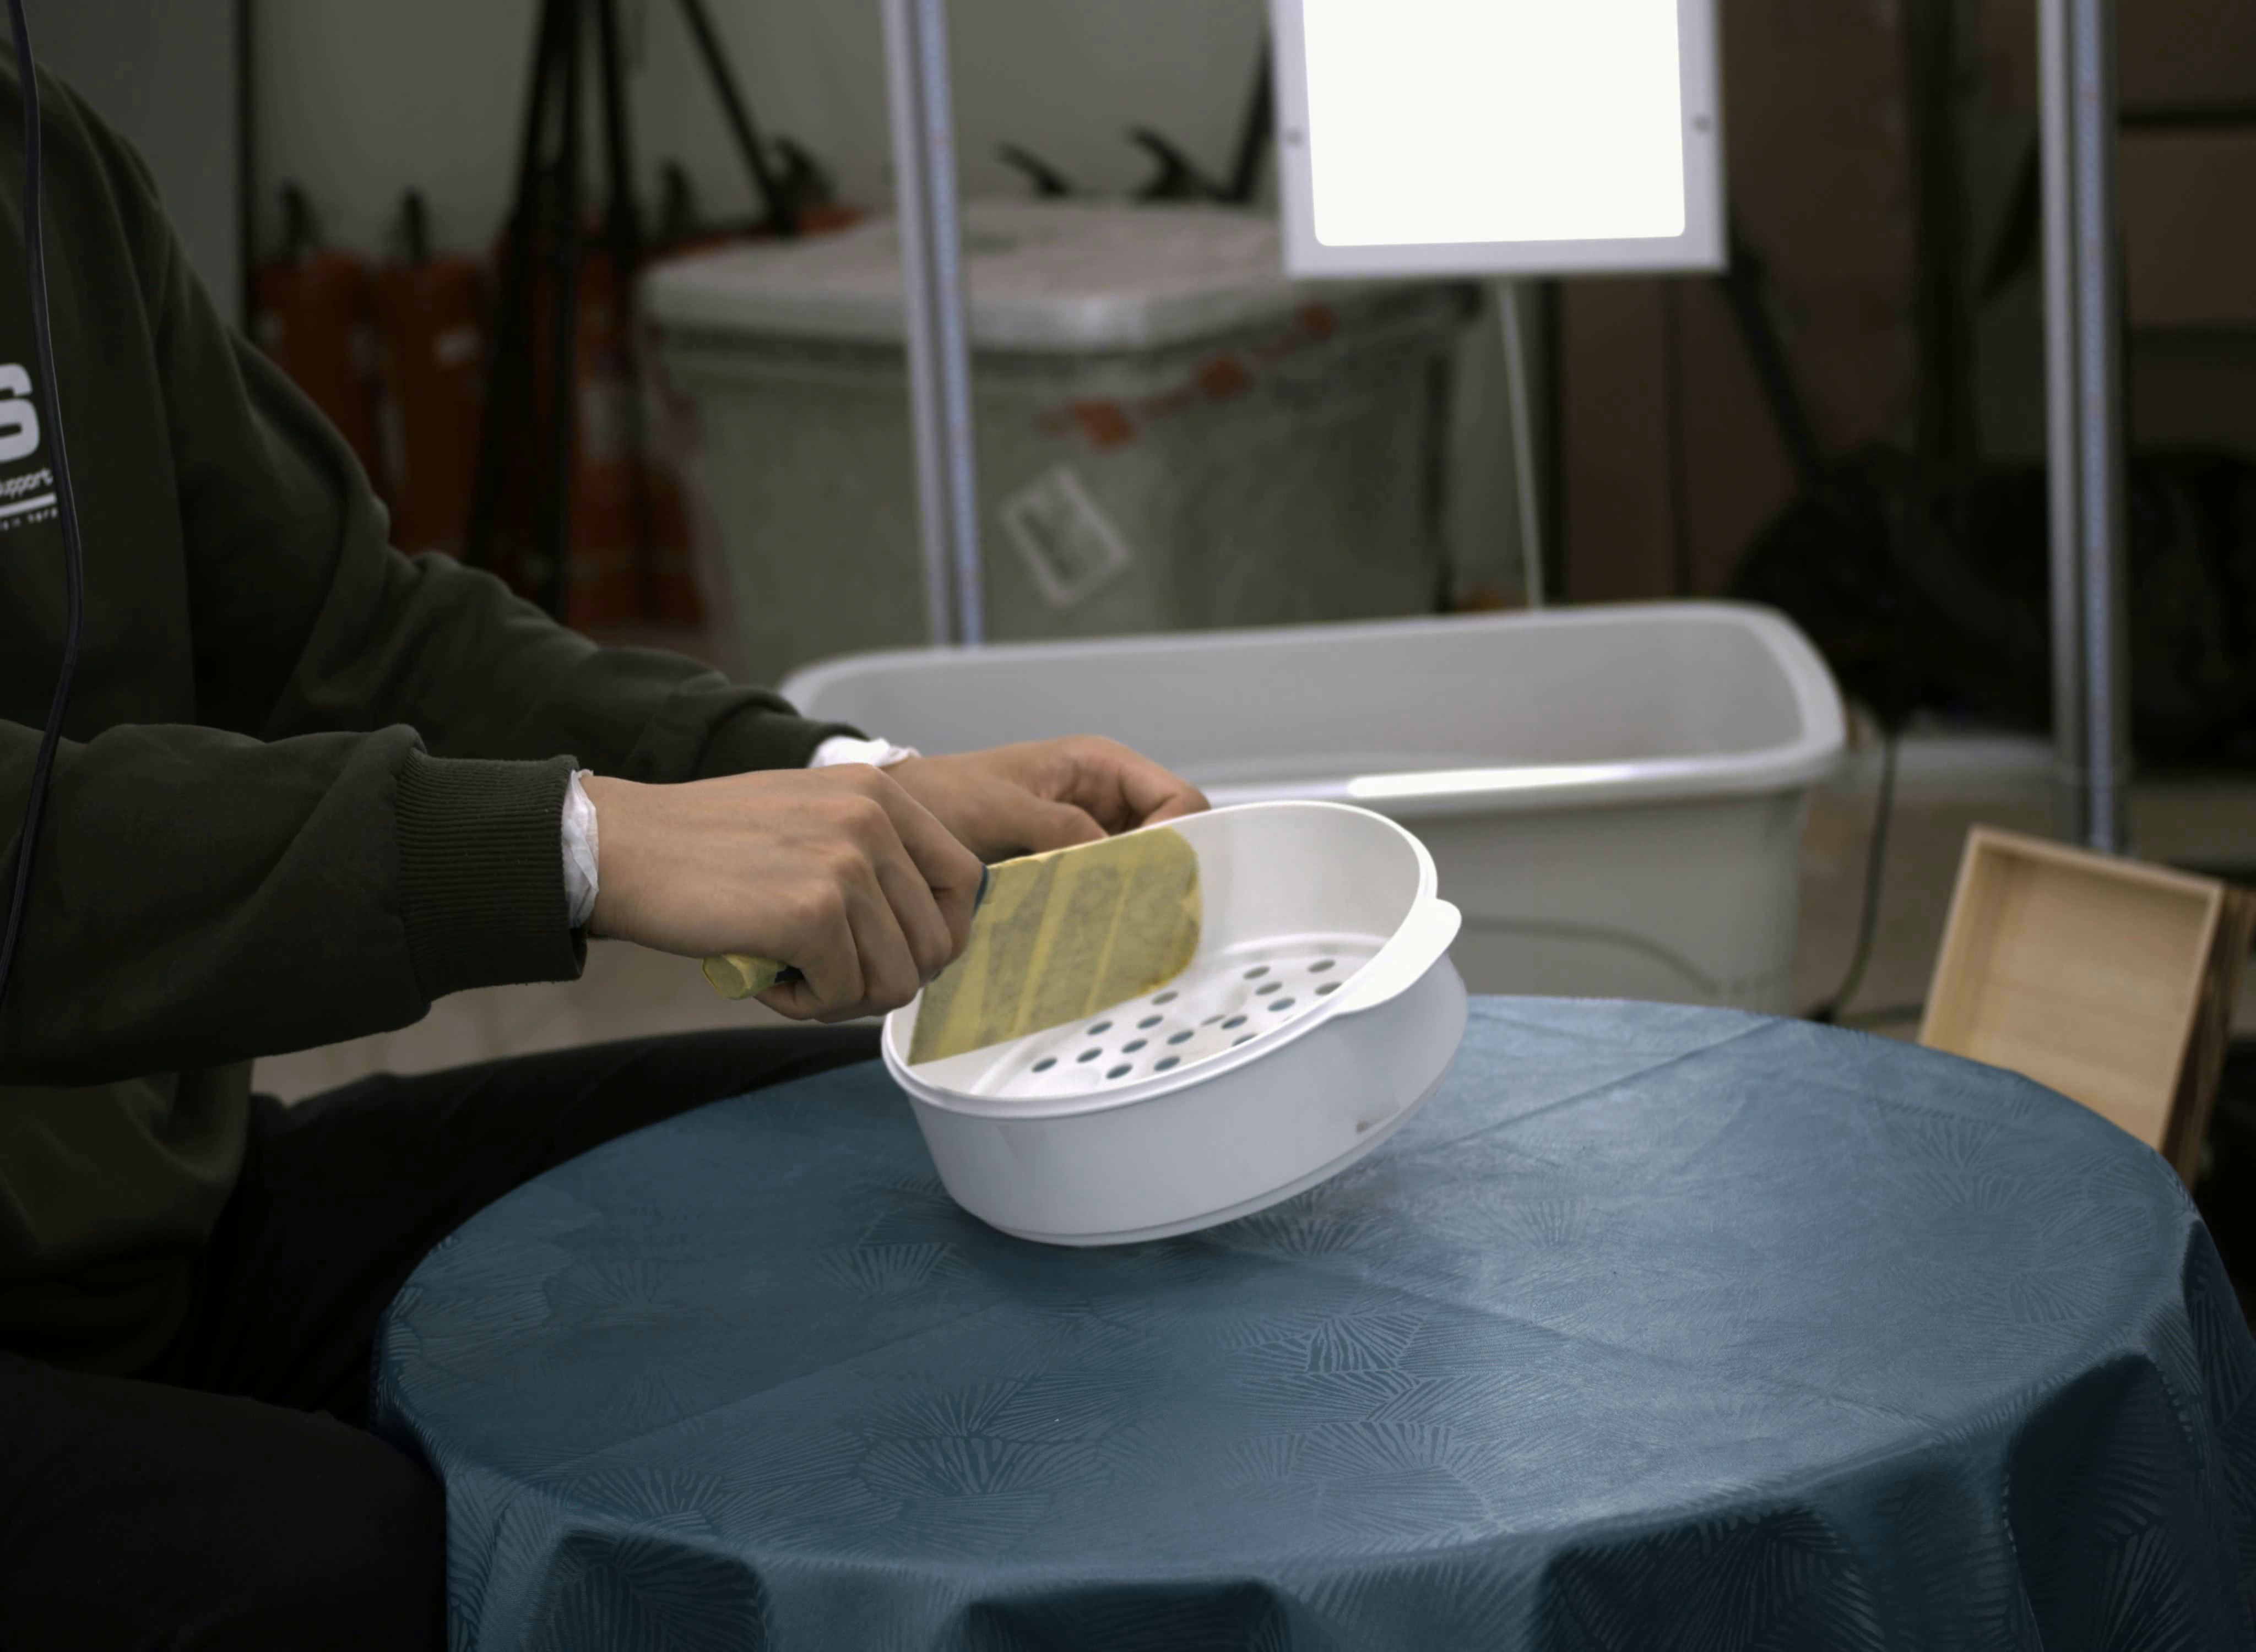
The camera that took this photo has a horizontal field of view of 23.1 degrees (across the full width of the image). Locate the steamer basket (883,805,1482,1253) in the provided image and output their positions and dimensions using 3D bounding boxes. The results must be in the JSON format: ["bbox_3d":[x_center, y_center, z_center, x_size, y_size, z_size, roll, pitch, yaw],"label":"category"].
[{"bbox_3d":[0.023,0.070,1.893,0.235,0.069,0.198,-3,29,39],"label":"steamer basket"}]

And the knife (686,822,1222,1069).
[{"bbox_3d":[-0.052,0.042,1.839,0.027,0.082,0.282,26,19,32],"label":"knife"}]
